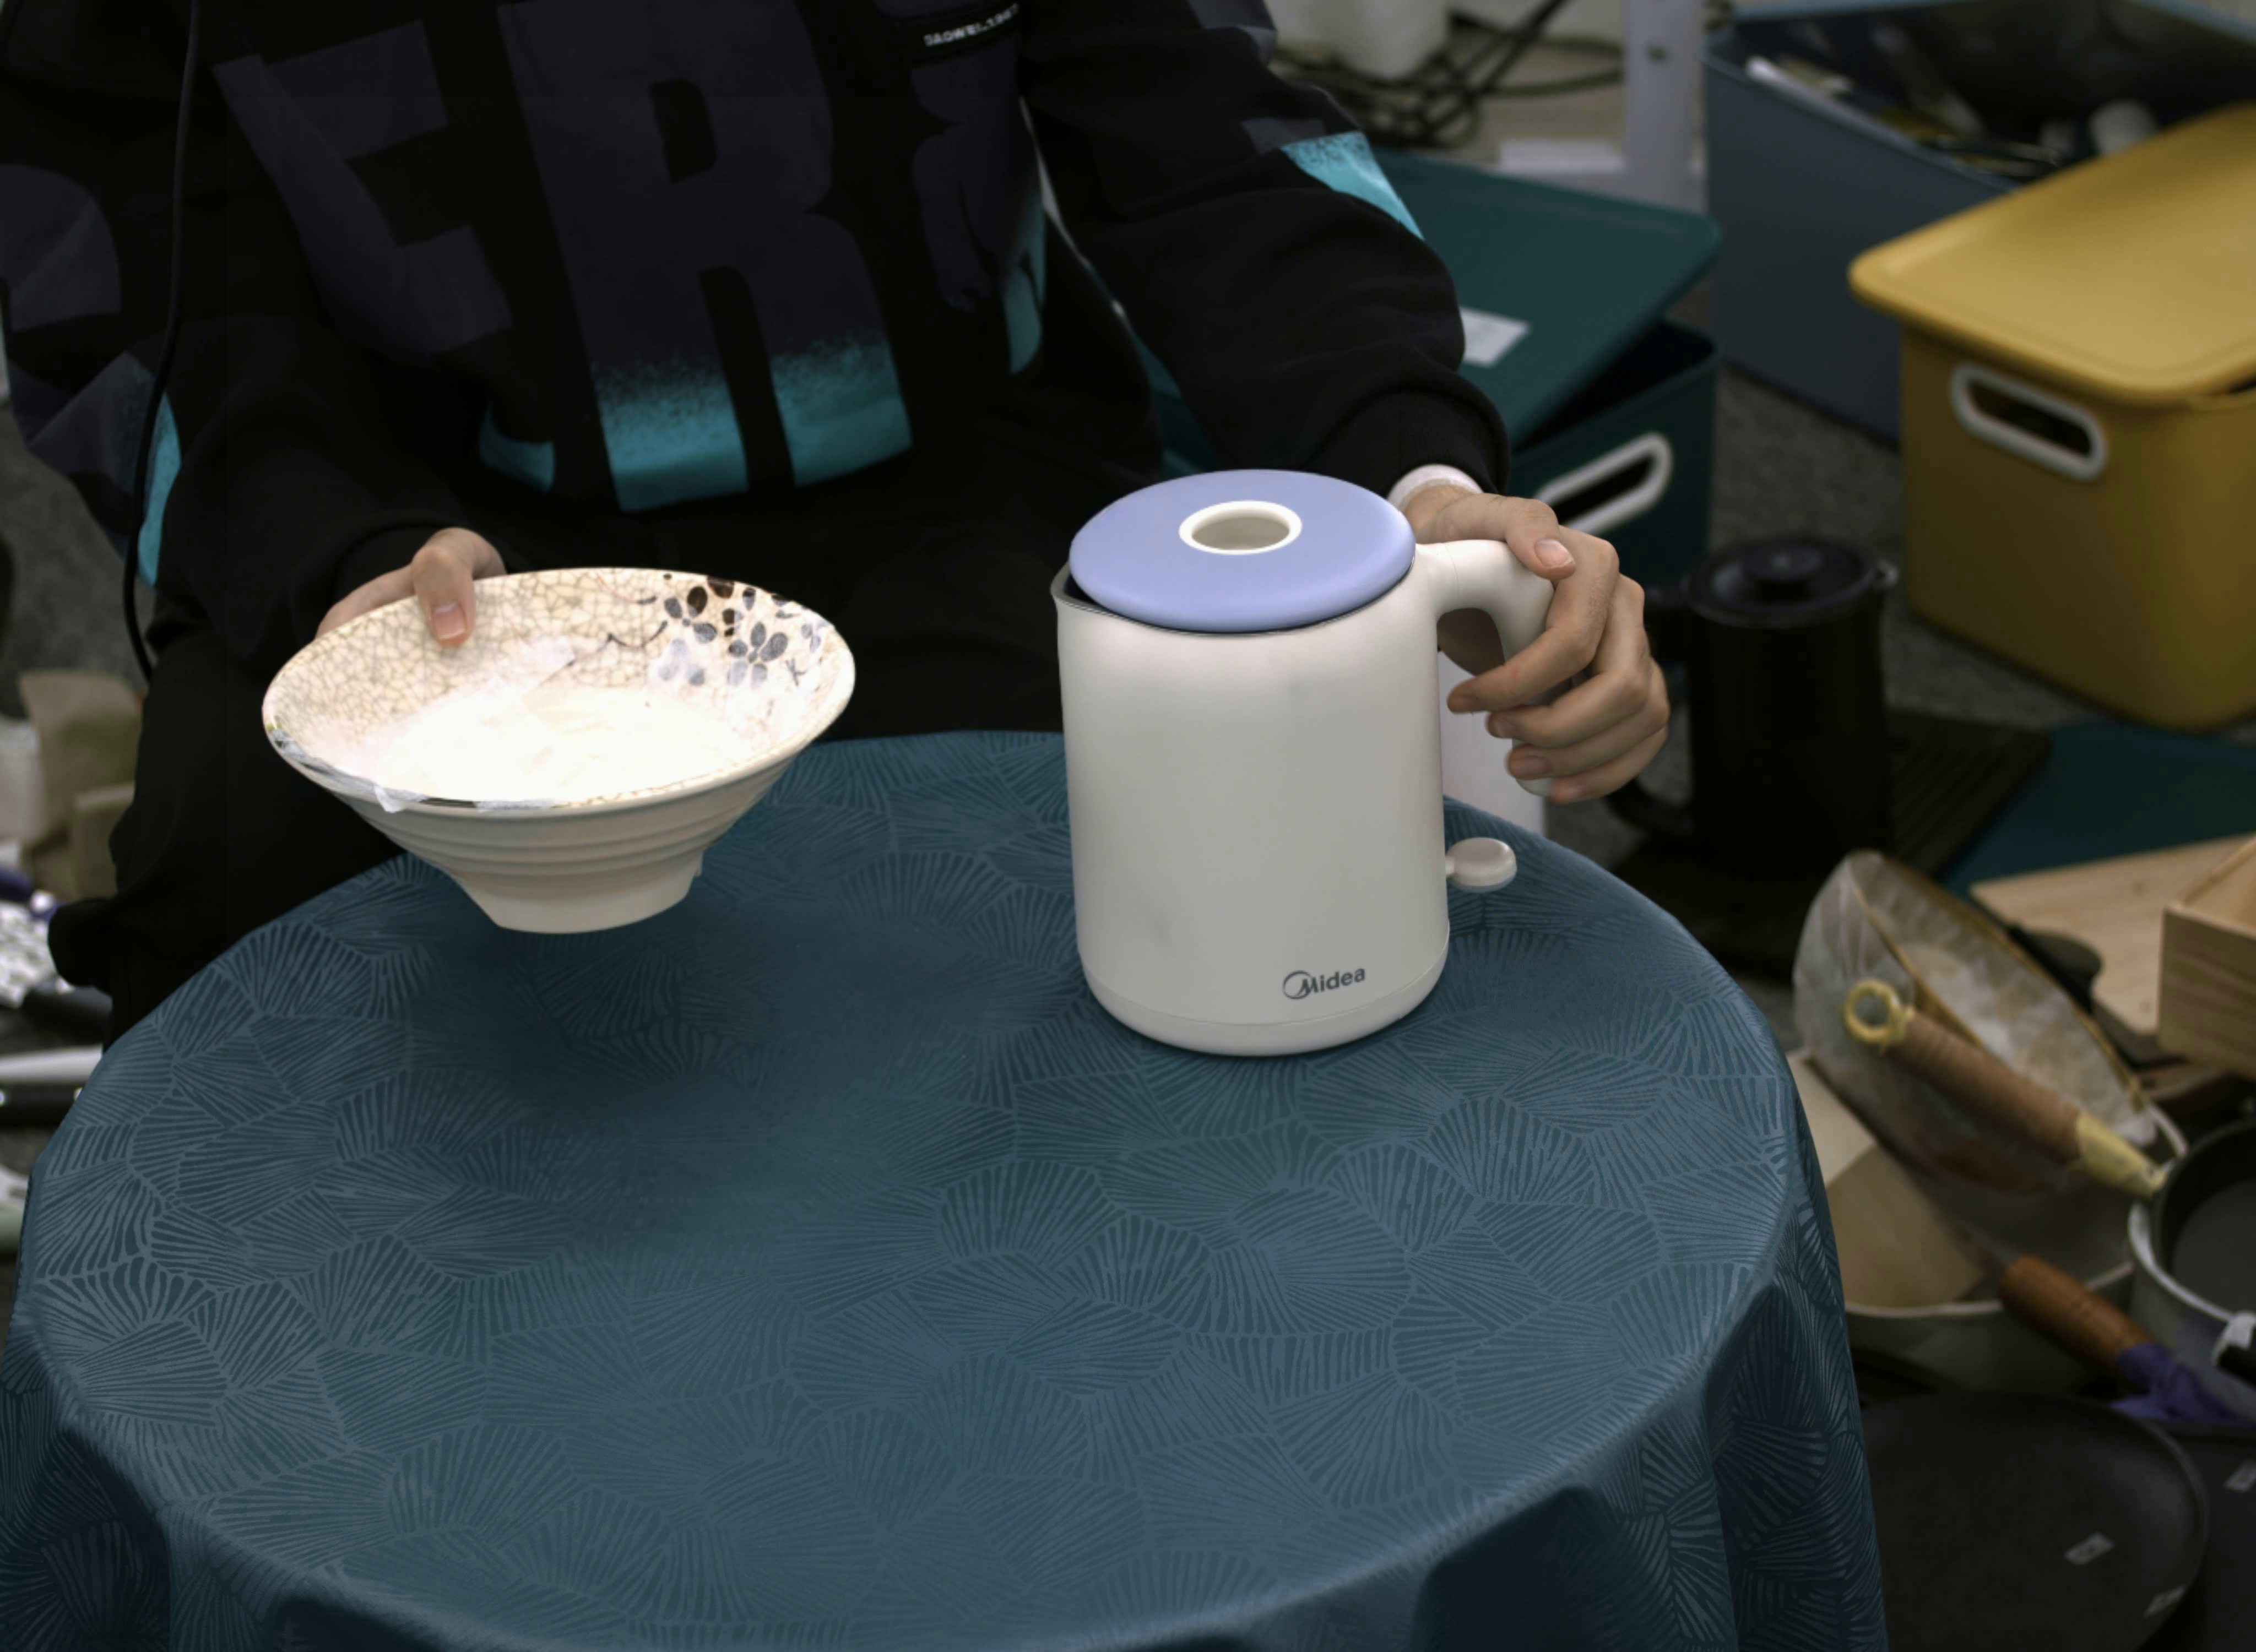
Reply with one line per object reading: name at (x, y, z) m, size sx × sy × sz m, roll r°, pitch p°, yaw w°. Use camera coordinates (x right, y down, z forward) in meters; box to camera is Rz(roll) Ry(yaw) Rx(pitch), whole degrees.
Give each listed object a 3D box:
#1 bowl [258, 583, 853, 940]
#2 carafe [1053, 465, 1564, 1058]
bowl at (-0.194, -0.013, 1.936) m, size 0.203 × 0.077 × 0.206 m, roll -1°, pitch 22°, yaw 1°
carafe at (0.065, -0.027, 1.958) m, size 0.191 × 0.180 × 0.133 m, roll -10°, pitch 29°, yaw -18°
